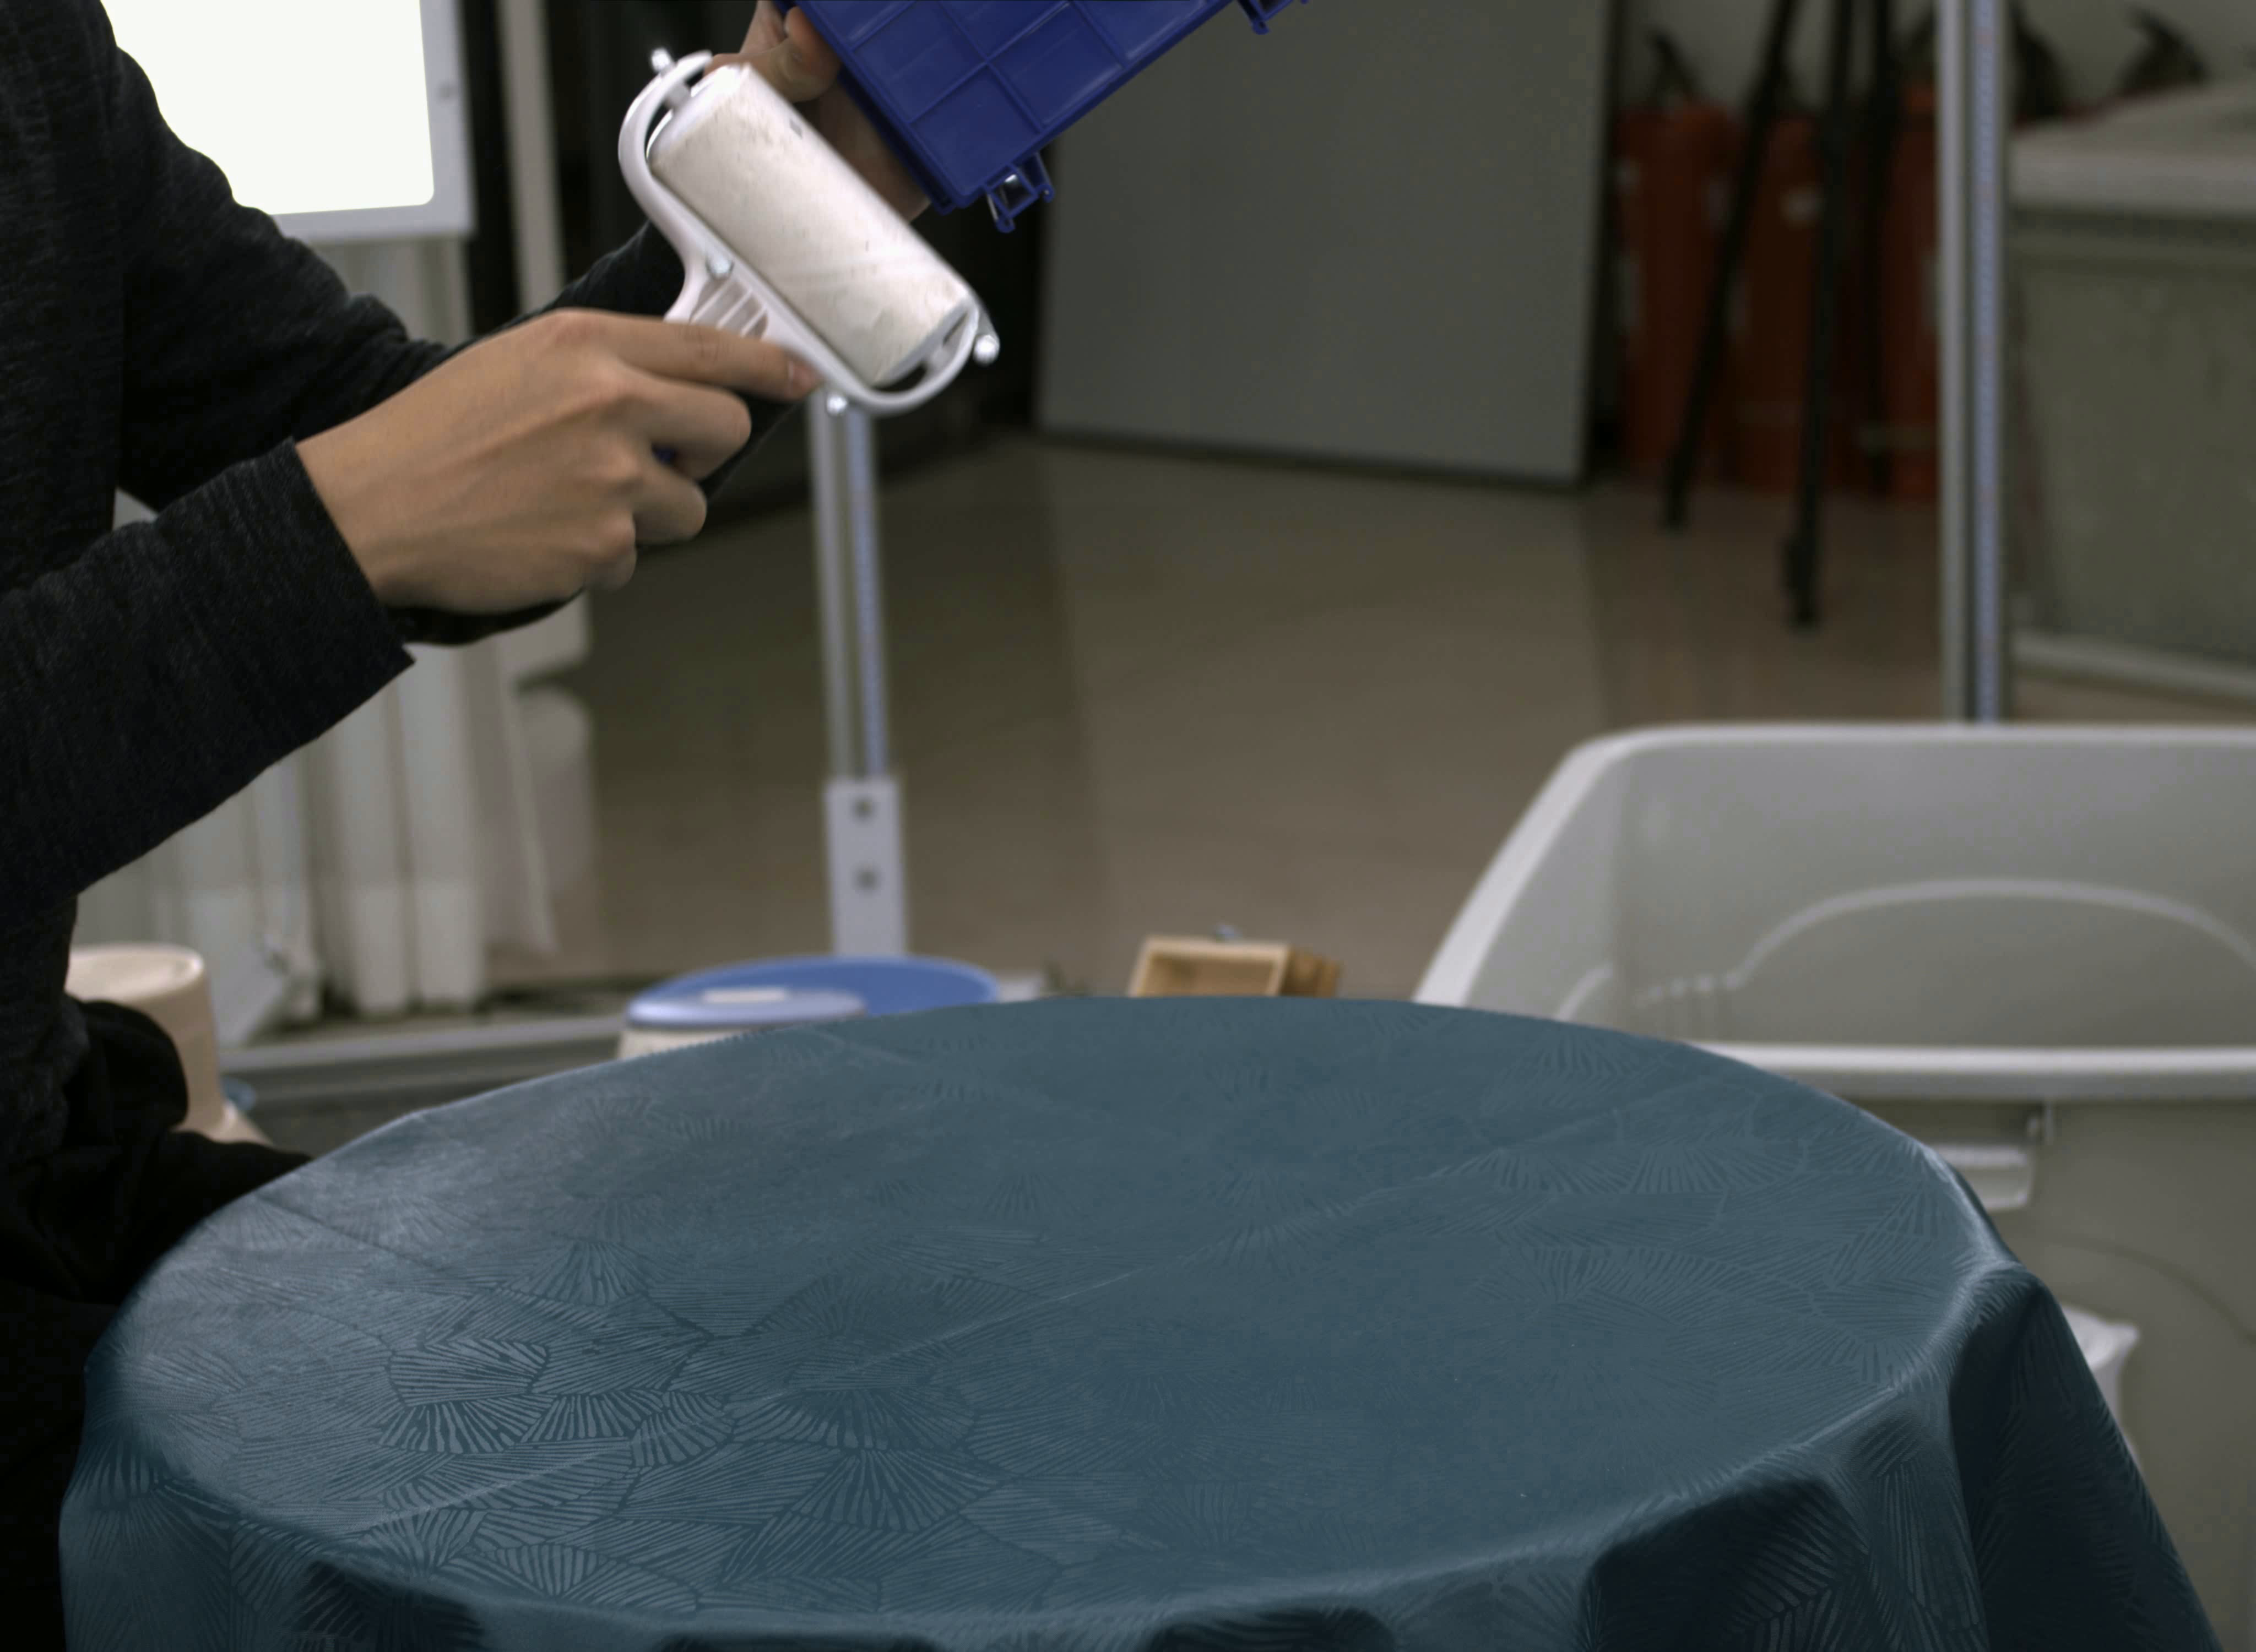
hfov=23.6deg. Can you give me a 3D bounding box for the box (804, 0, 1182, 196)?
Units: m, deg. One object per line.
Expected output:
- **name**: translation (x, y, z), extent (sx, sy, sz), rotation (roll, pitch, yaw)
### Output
- **box**: translation (-0.020, -0.301, 1.738), extent (0.179, 0.124, 0.082), rotation (-39, 15, 6)

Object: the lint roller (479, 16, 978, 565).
- **lint roller**: translation (-0.138, -0.153, 1.675), extent (0.180, 0.132, 0.050), rotation (-50, 12, -26)
